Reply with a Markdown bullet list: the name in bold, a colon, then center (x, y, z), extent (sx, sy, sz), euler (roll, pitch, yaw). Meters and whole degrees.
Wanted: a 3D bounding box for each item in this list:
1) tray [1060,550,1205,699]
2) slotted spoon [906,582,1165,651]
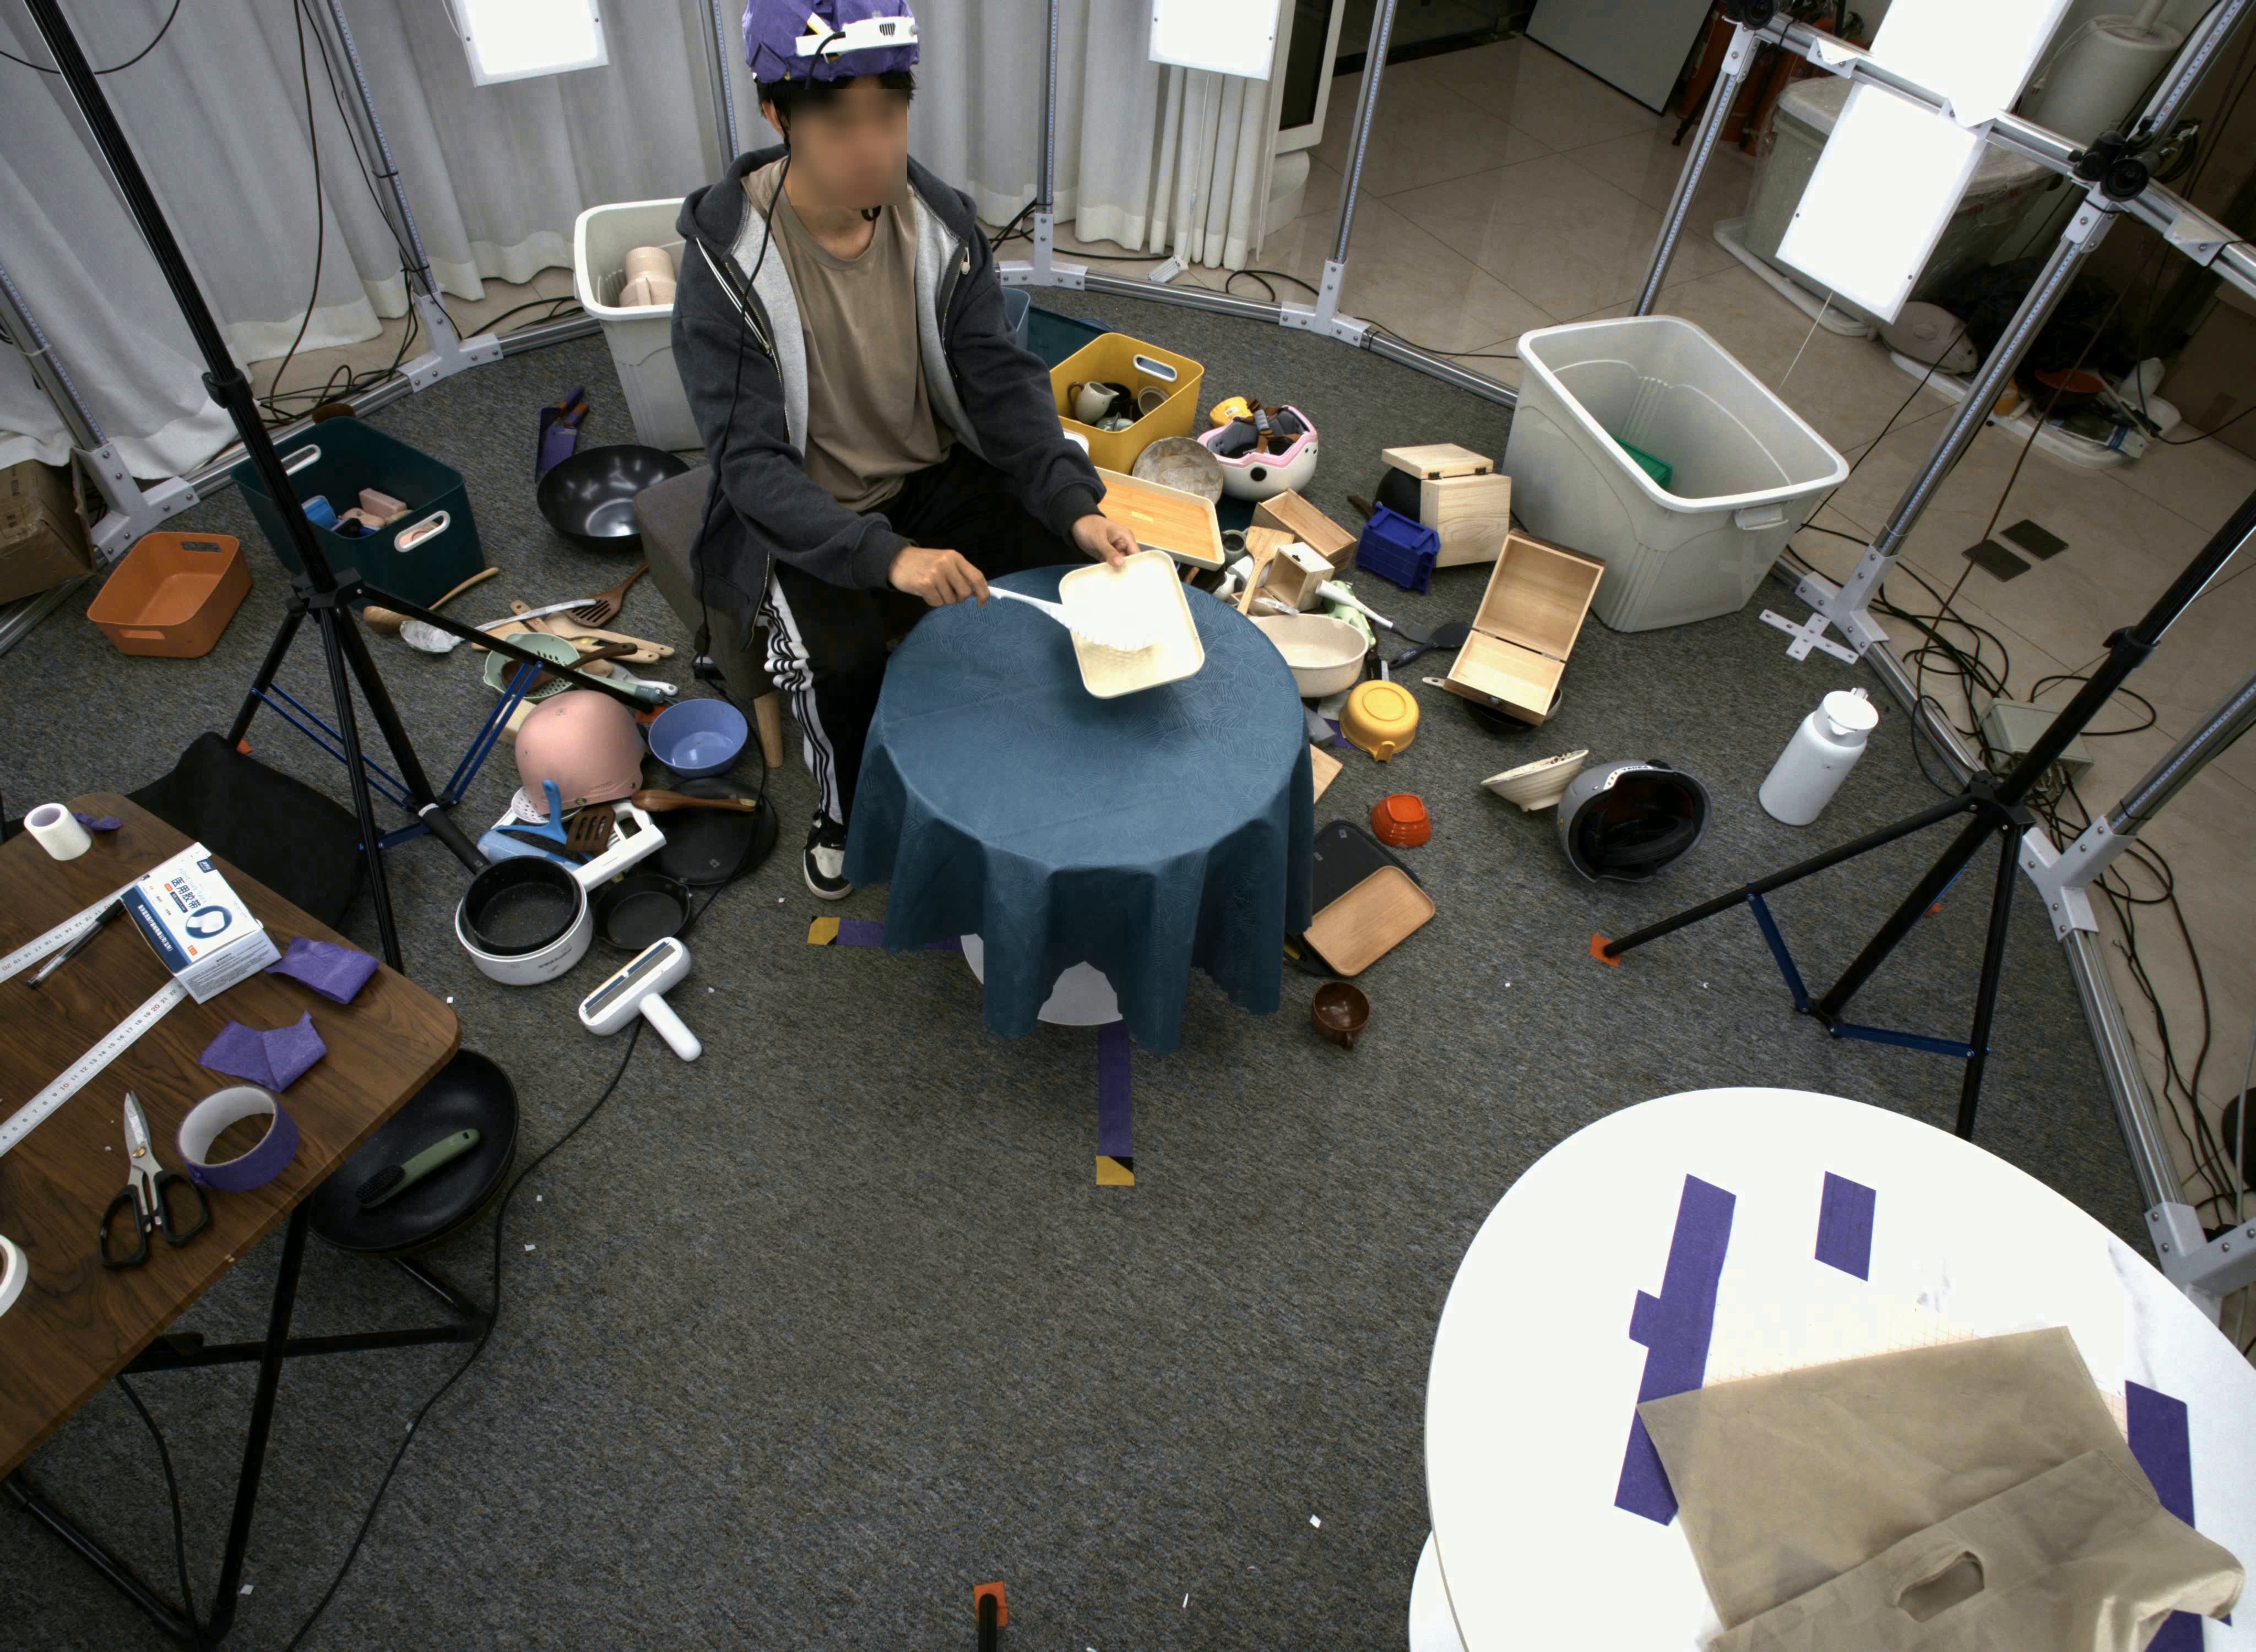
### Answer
- **tray**: center (0.005, -0.285, 1.809), extent (0.171, 0.017, 0.245), euler (-15, 56, 1)
- **slotted spoon**: center (-0.123, -0.291, 1.731), extent (0.347, 0.050, 0.137), euler (17, 3, -3)
